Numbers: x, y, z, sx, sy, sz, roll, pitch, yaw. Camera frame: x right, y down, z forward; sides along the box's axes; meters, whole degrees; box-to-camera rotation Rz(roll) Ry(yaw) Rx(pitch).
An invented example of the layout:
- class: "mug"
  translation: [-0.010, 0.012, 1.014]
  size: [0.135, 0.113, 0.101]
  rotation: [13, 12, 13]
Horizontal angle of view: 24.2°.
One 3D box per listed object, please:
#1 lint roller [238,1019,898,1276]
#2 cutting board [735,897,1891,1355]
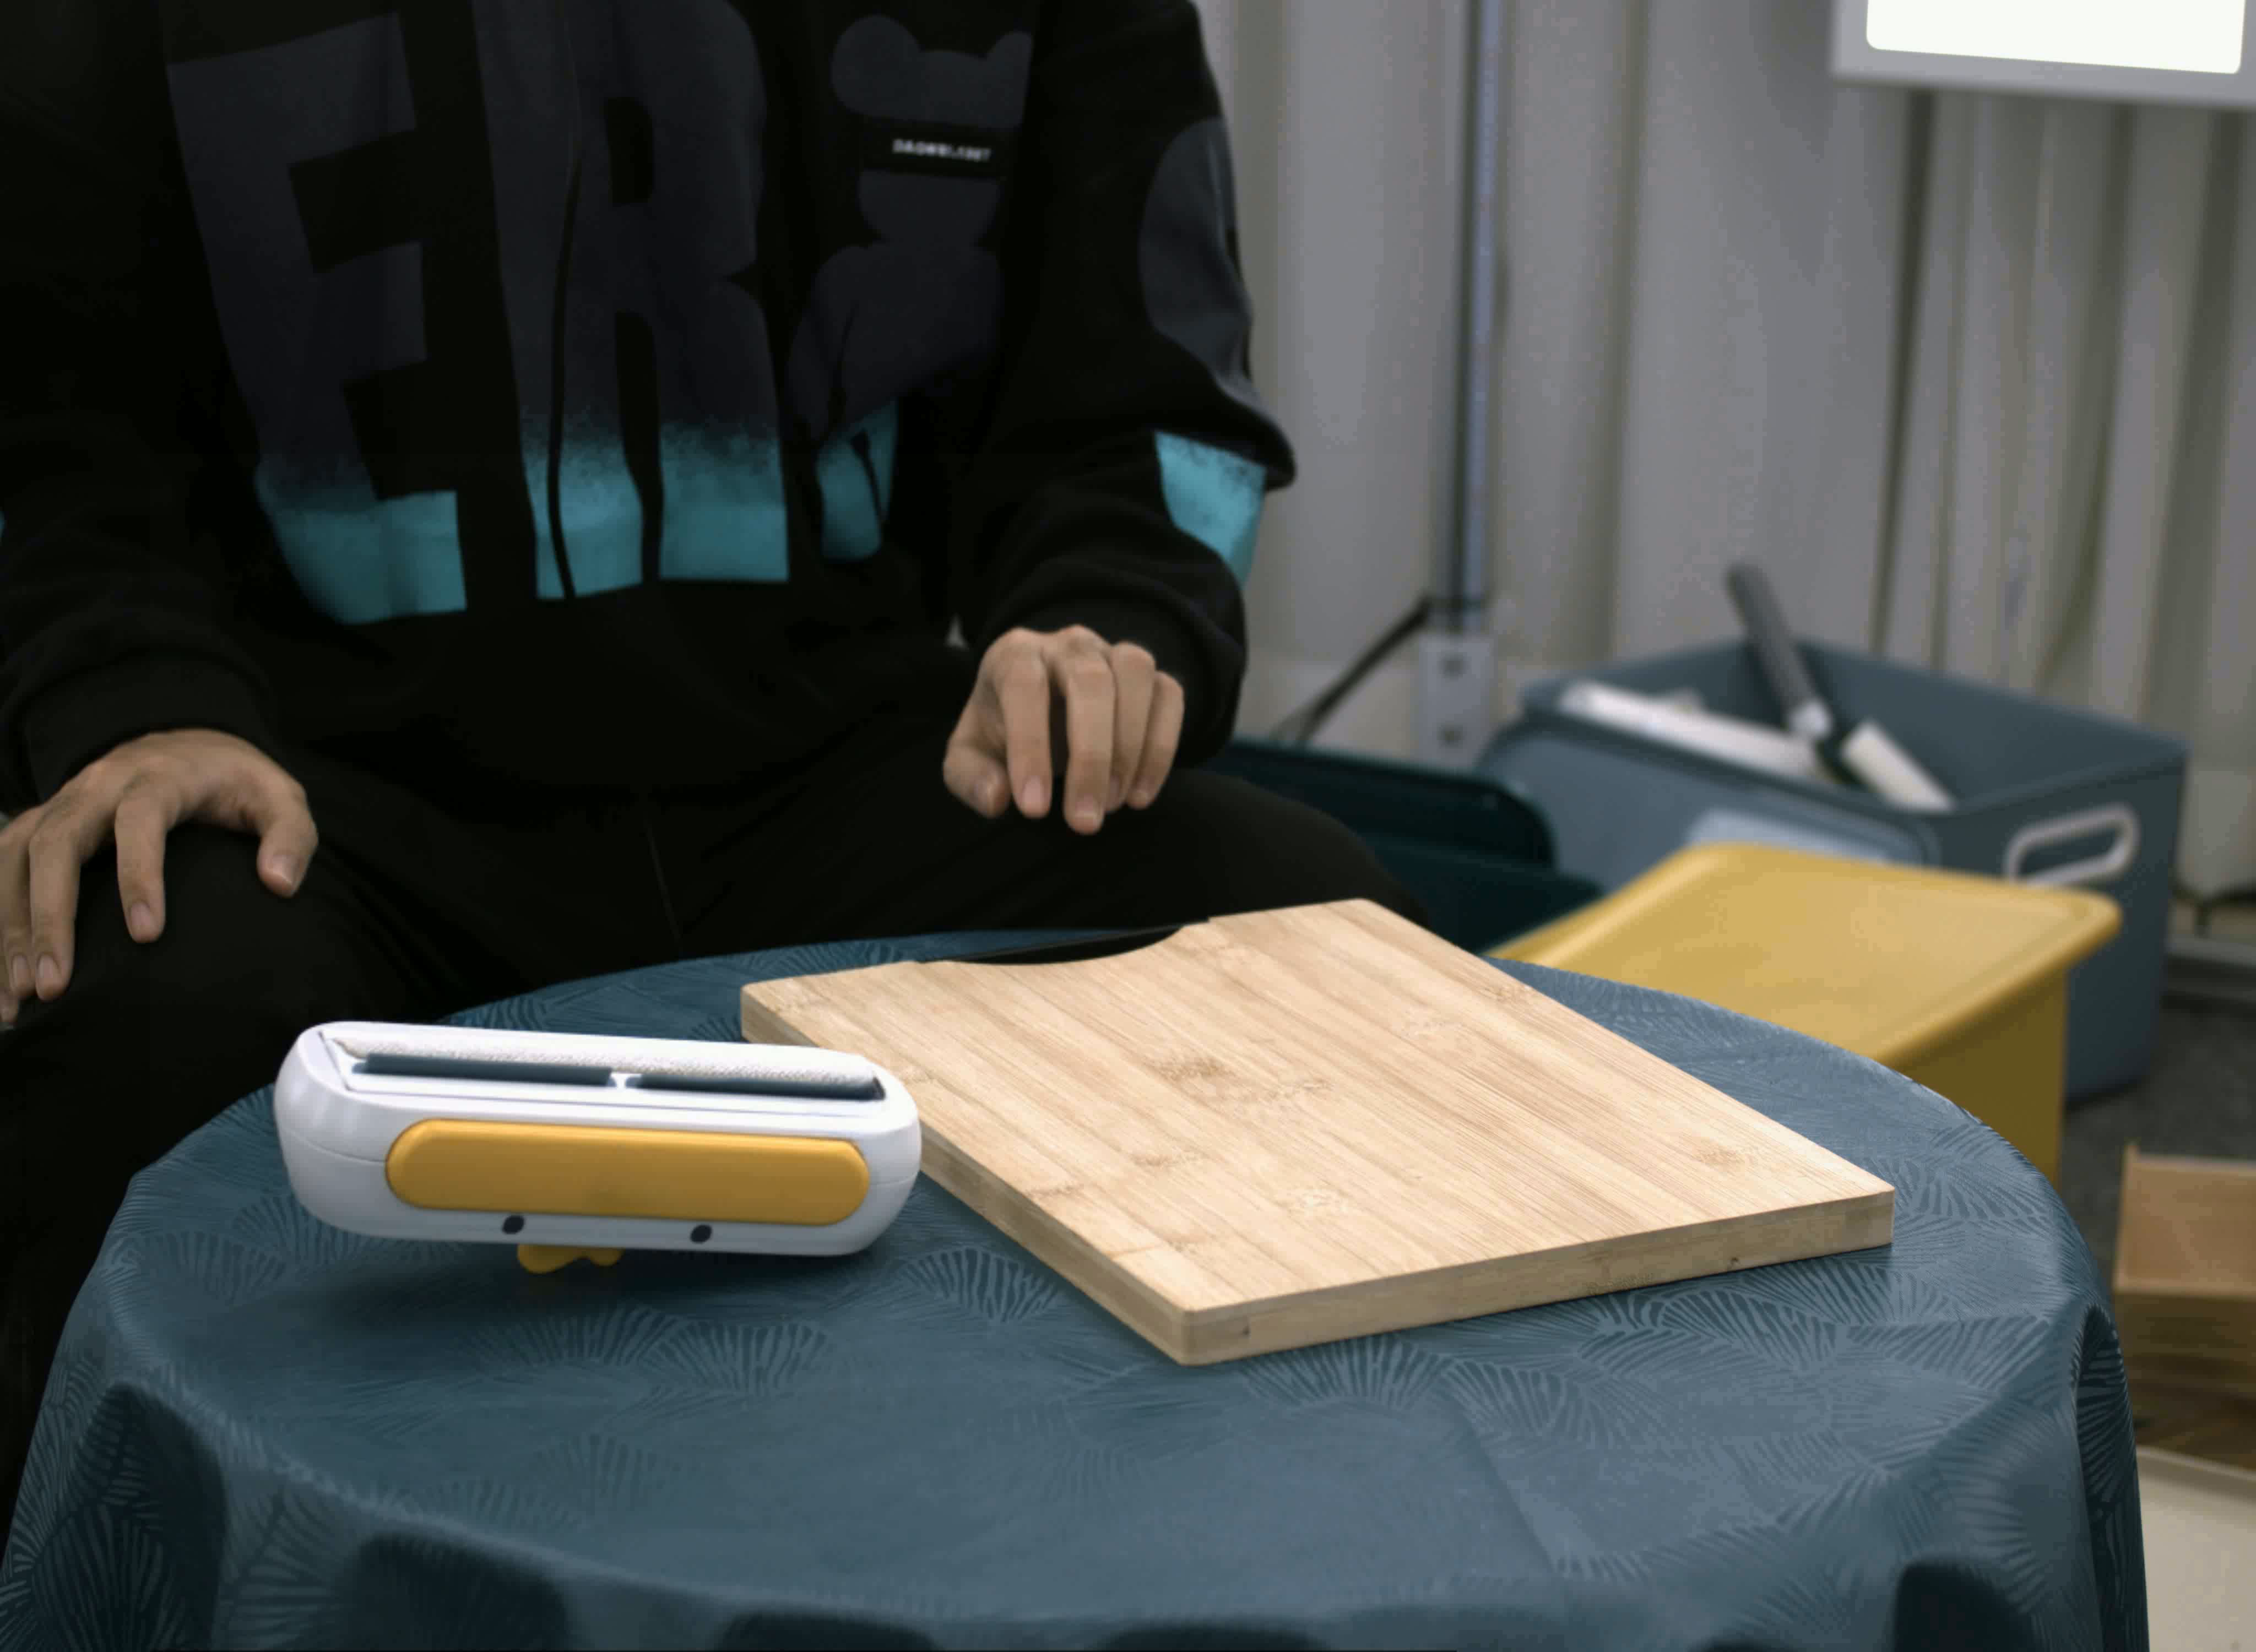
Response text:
- class: "lint roller"
  translation: [-0.180, 0.085, 1.588]
  size: [0.193, 0.074, 0.190]
  rotation: [1, 13, -19]
- class: "cutting board"
  translation: [0.048, 0.089, 1.676]
  size: [0.251, 0.024, 0.344]
  rotation: [-7, 17, -26]
